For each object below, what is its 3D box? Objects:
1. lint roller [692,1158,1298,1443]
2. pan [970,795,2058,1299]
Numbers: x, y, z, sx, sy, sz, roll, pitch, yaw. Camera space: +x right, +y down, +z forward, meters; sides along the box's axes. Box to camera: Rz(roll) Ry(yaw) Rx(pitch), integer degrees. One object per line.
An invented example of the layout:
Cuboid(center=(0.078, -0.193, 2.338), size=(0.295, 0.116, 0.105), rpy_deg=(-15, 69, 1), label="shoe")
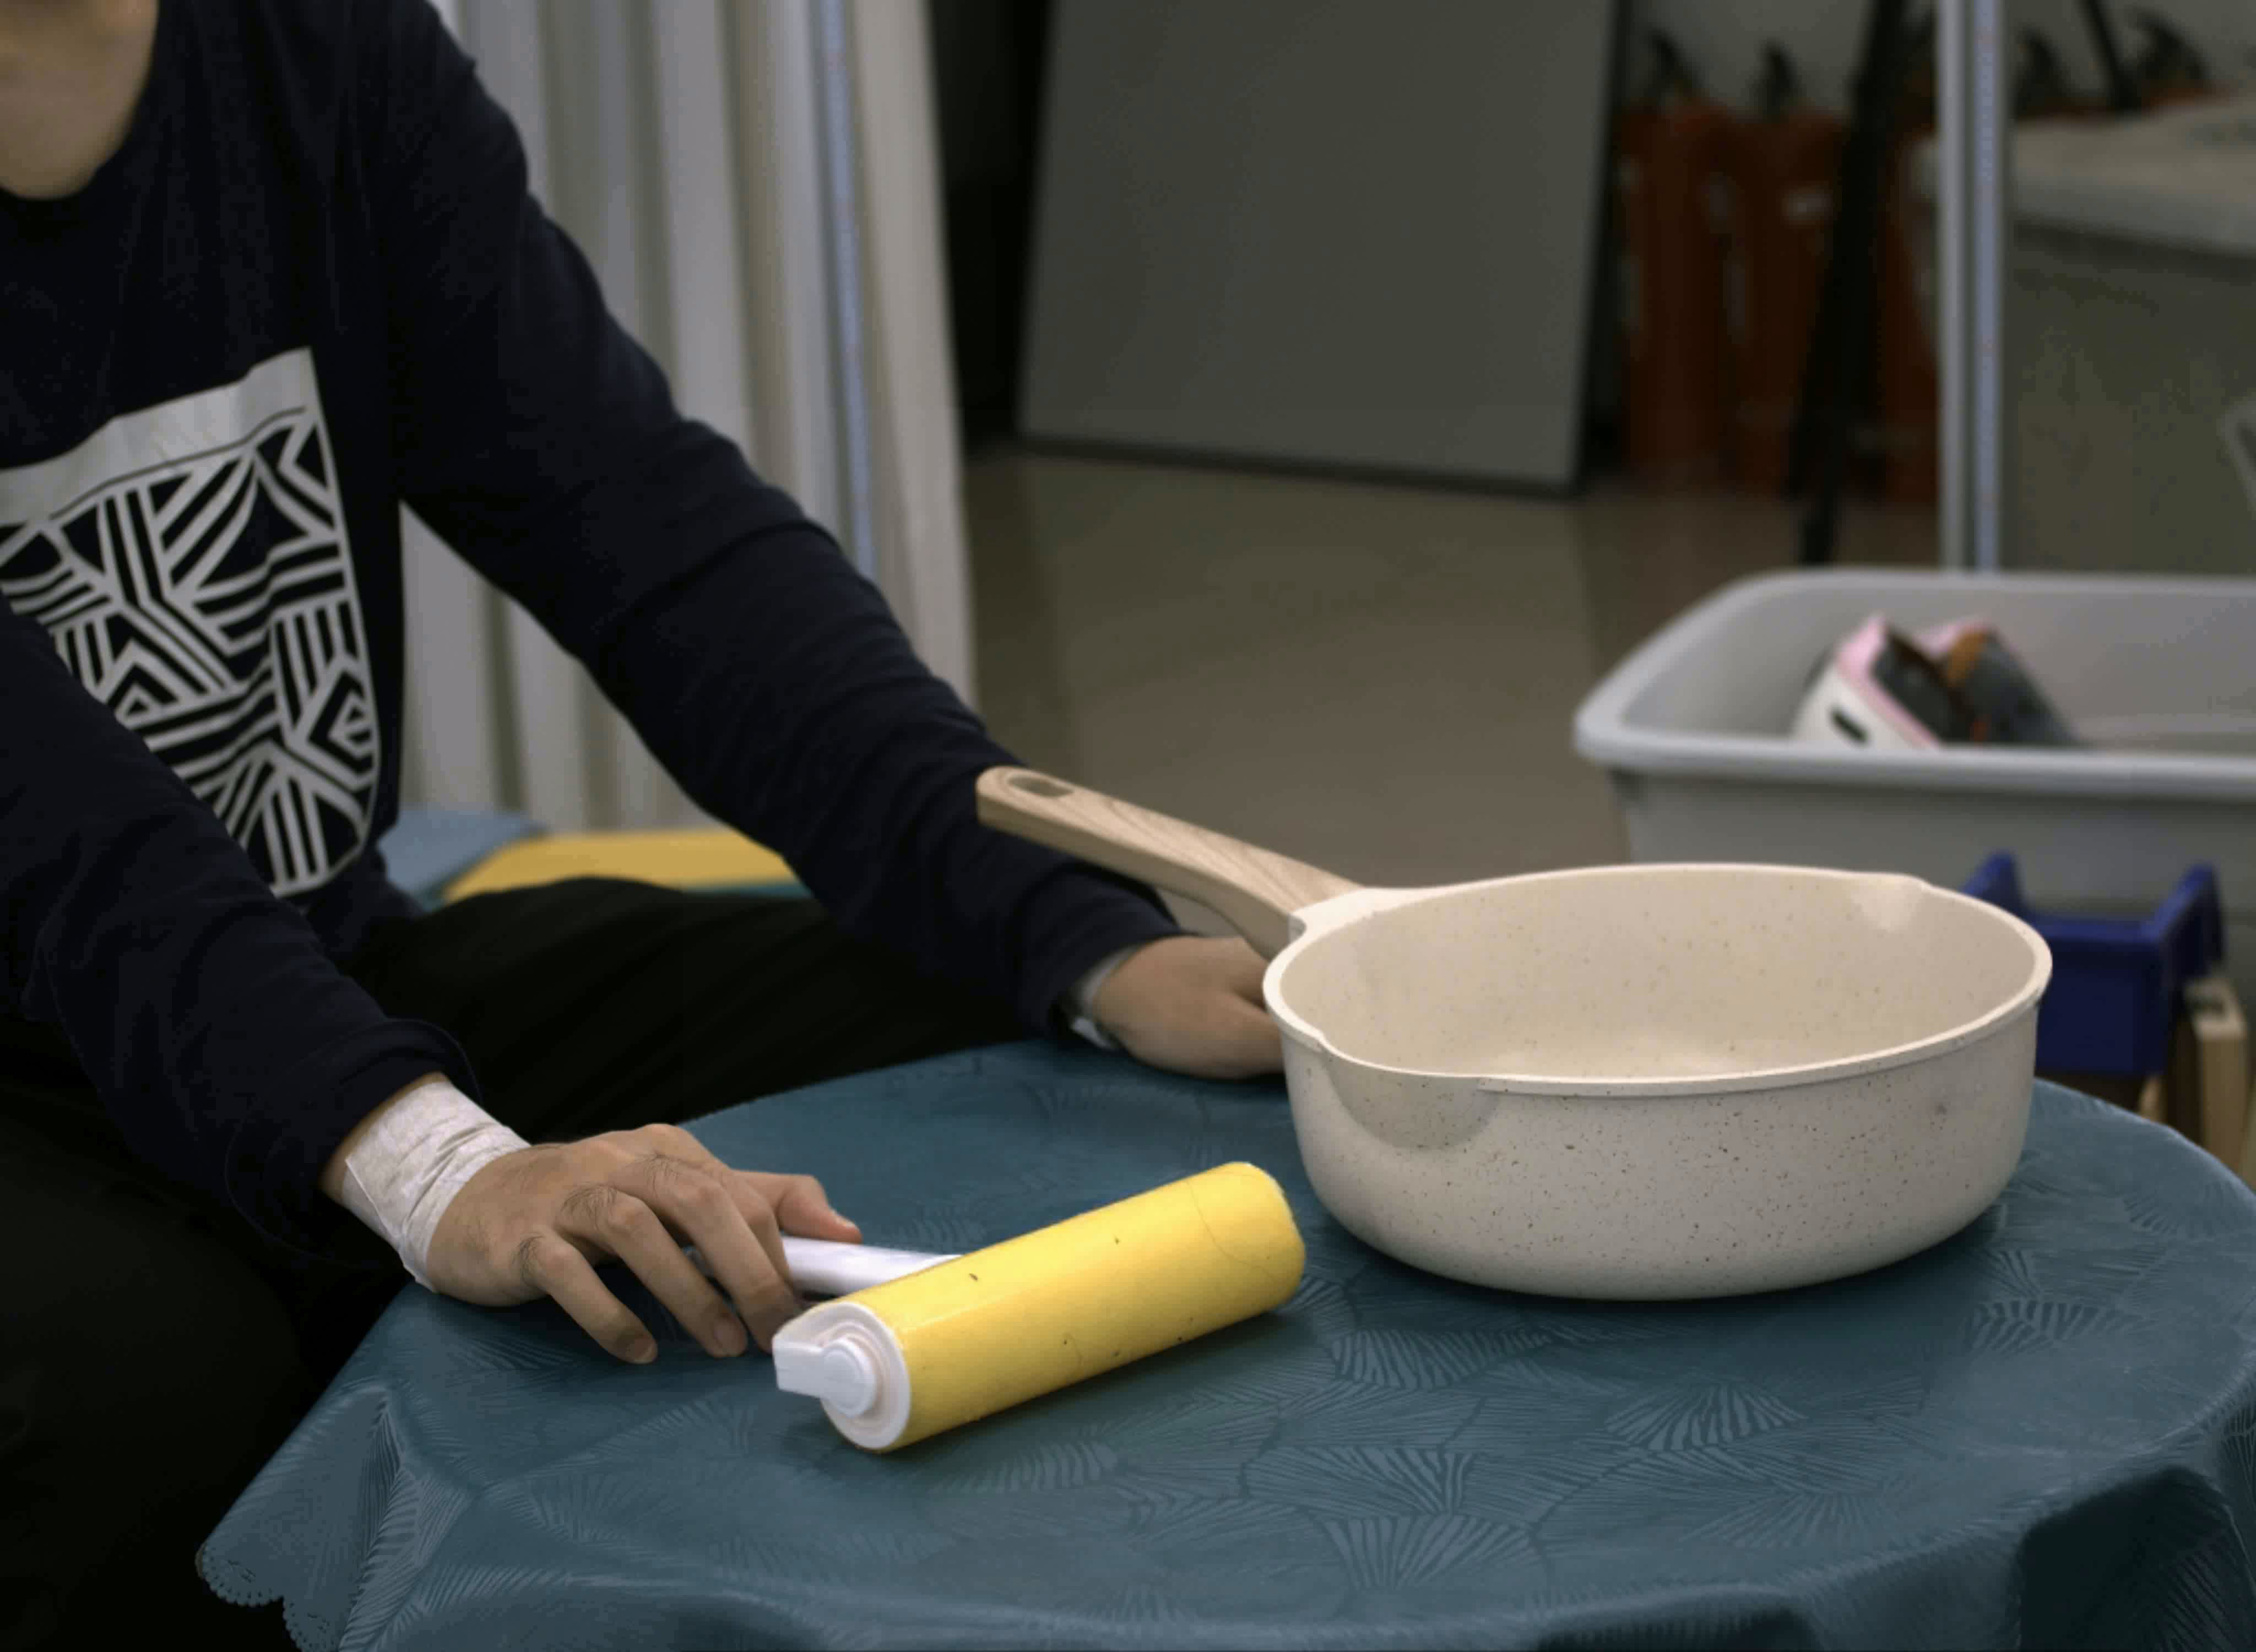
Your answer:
Cuboid(center=(-0.070, 0.134, 1.647), size=(0.170, 0.052, 0.194), rpy_deg=(-15, 16, -40), label="lint roller")
Cuboid(center=(0.108, 0.062, 1.778), size=(0.258, 0.103, 0.439), rpy_deg=(-20, 20, -41), label="pan")
